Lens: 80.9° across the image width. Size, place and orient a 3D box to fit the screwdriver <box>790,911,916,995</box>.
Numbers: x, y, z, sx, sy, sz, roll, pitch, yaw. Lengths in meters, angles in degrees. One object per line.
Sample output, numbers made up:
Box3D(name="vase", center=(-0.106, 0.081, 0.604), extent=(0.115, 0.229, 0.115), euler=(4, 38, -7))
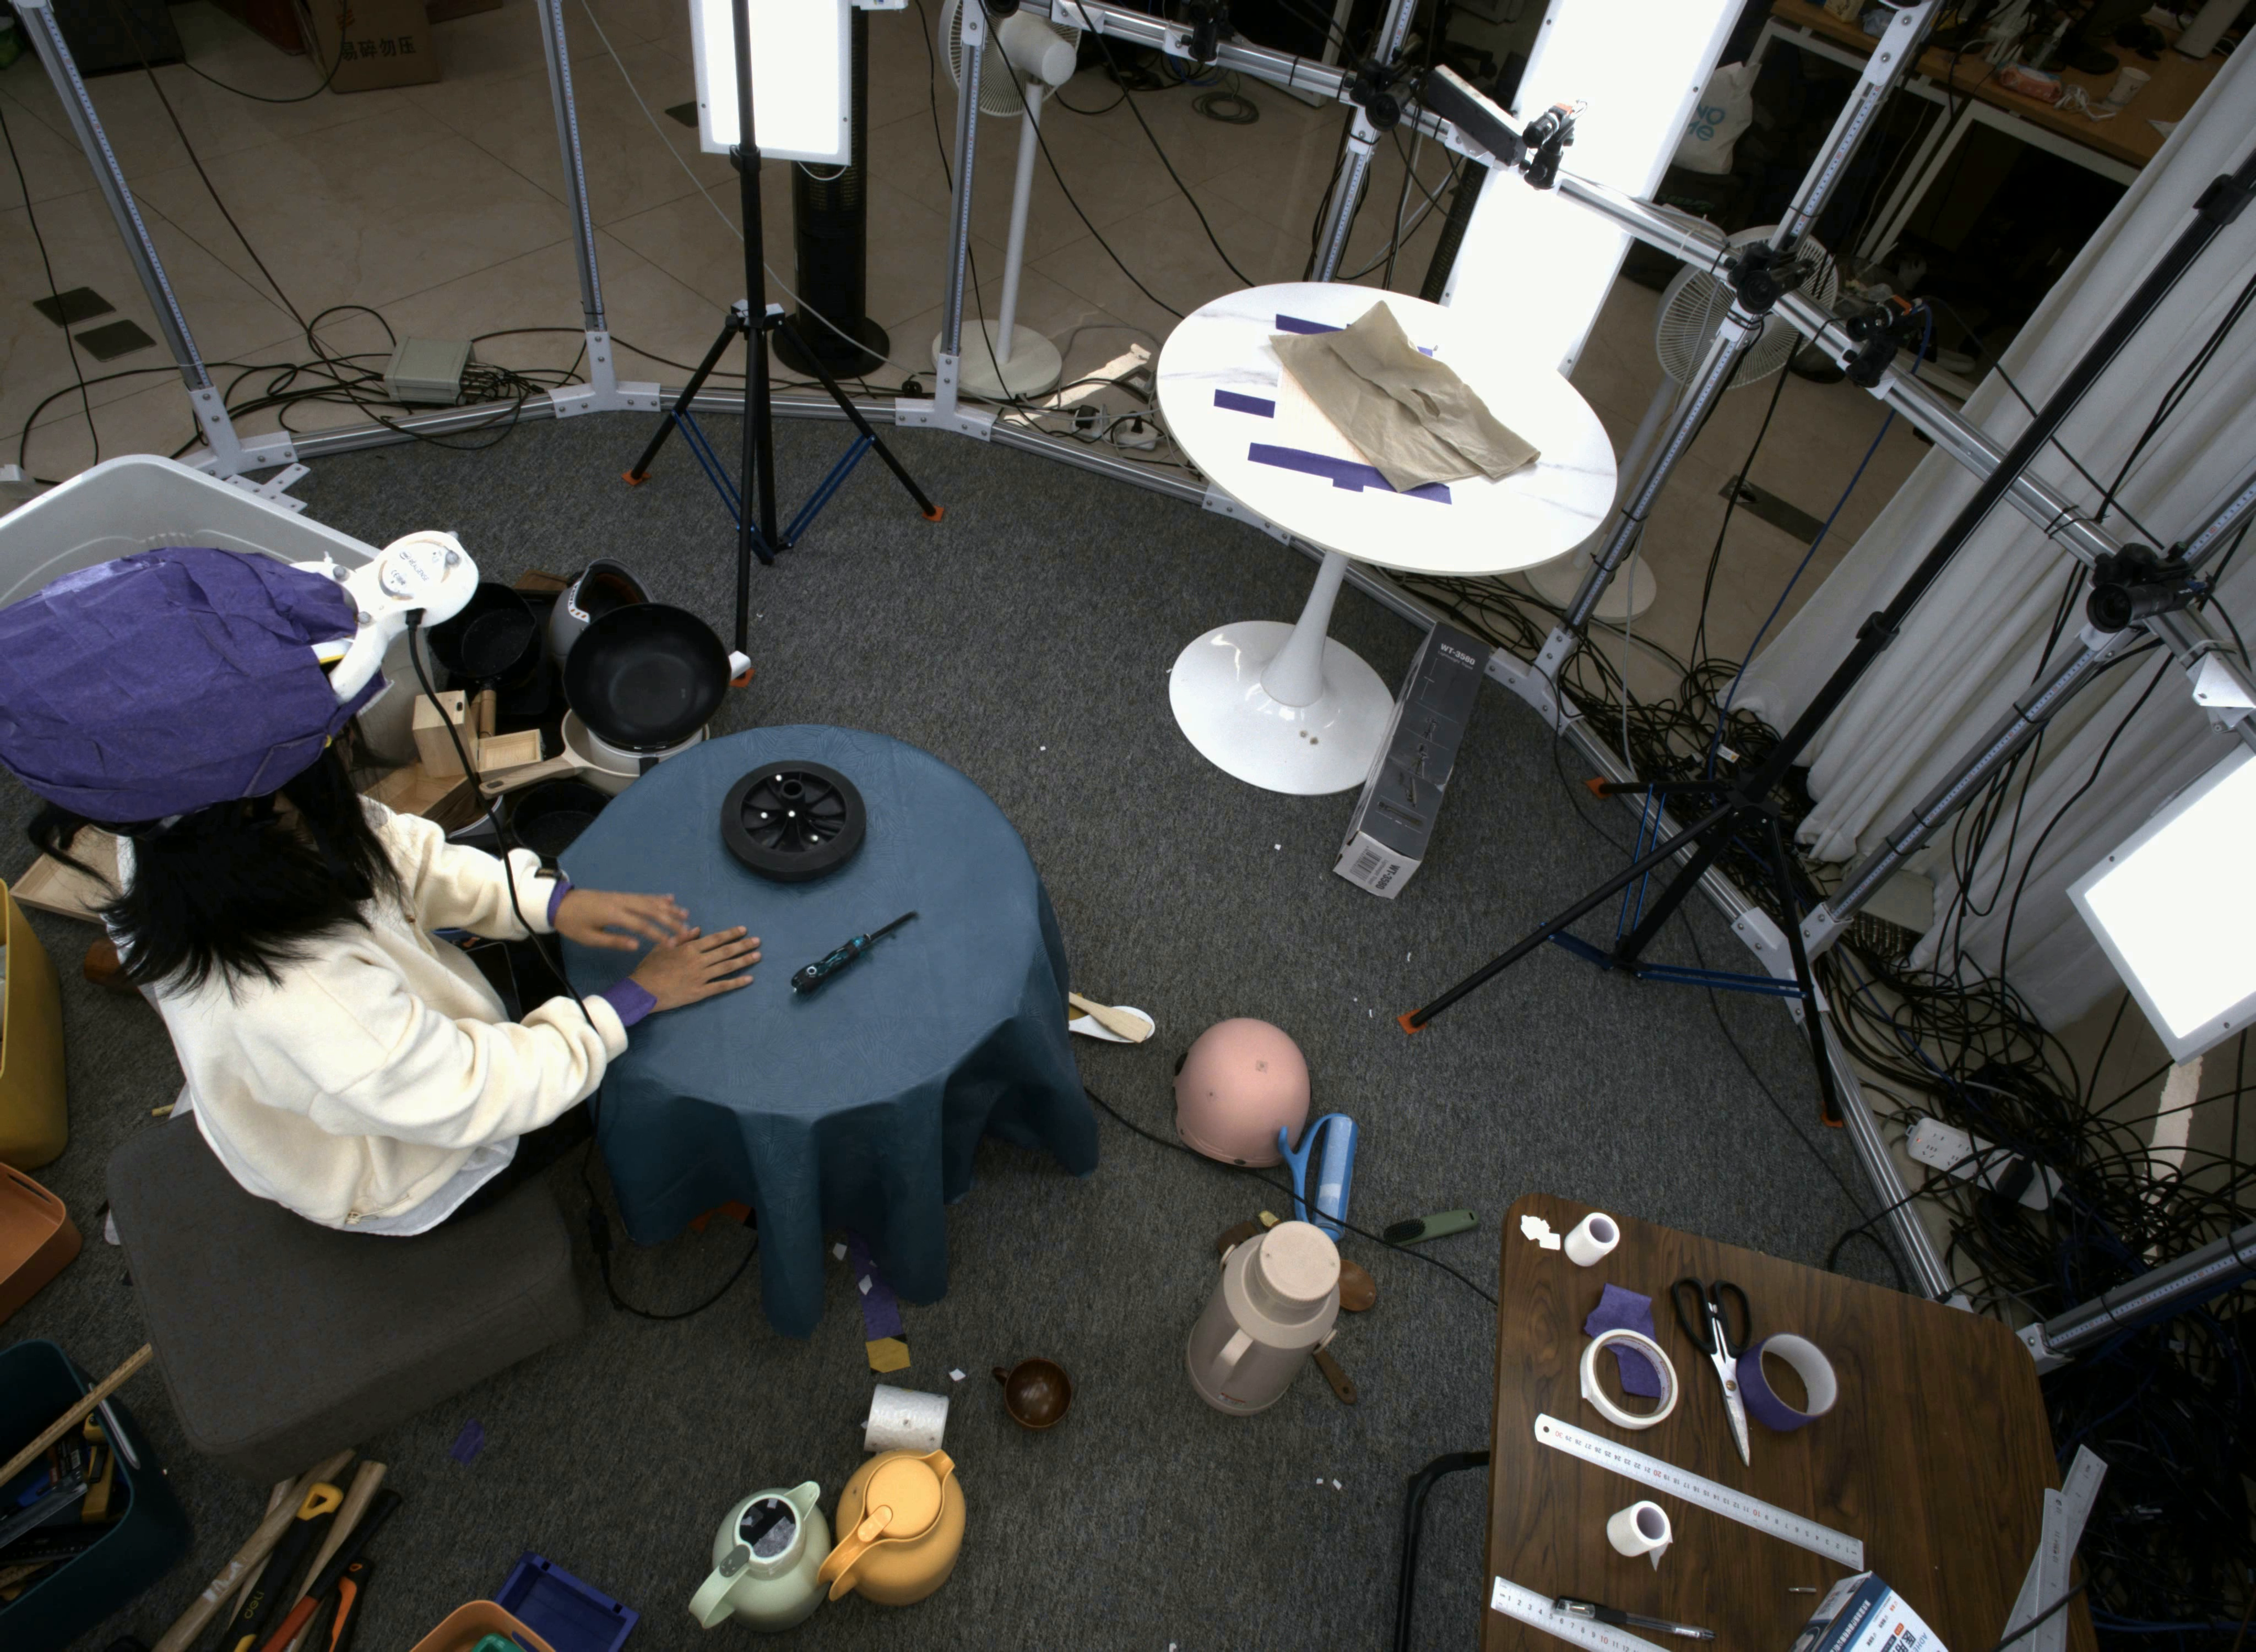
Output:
Box3D(name="screwdriver", center=(-0.337, 0.152, 1.615), extent=(0.033, 0.034, 0.191), euler=(41, 49, 19))

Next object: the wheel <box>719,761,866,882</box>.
Box3D(name="wheel", center=(-0.435, -0.022, 1.685), extent=(0.191, 0.080, 0.183), euler=(-4, 55, -20))
